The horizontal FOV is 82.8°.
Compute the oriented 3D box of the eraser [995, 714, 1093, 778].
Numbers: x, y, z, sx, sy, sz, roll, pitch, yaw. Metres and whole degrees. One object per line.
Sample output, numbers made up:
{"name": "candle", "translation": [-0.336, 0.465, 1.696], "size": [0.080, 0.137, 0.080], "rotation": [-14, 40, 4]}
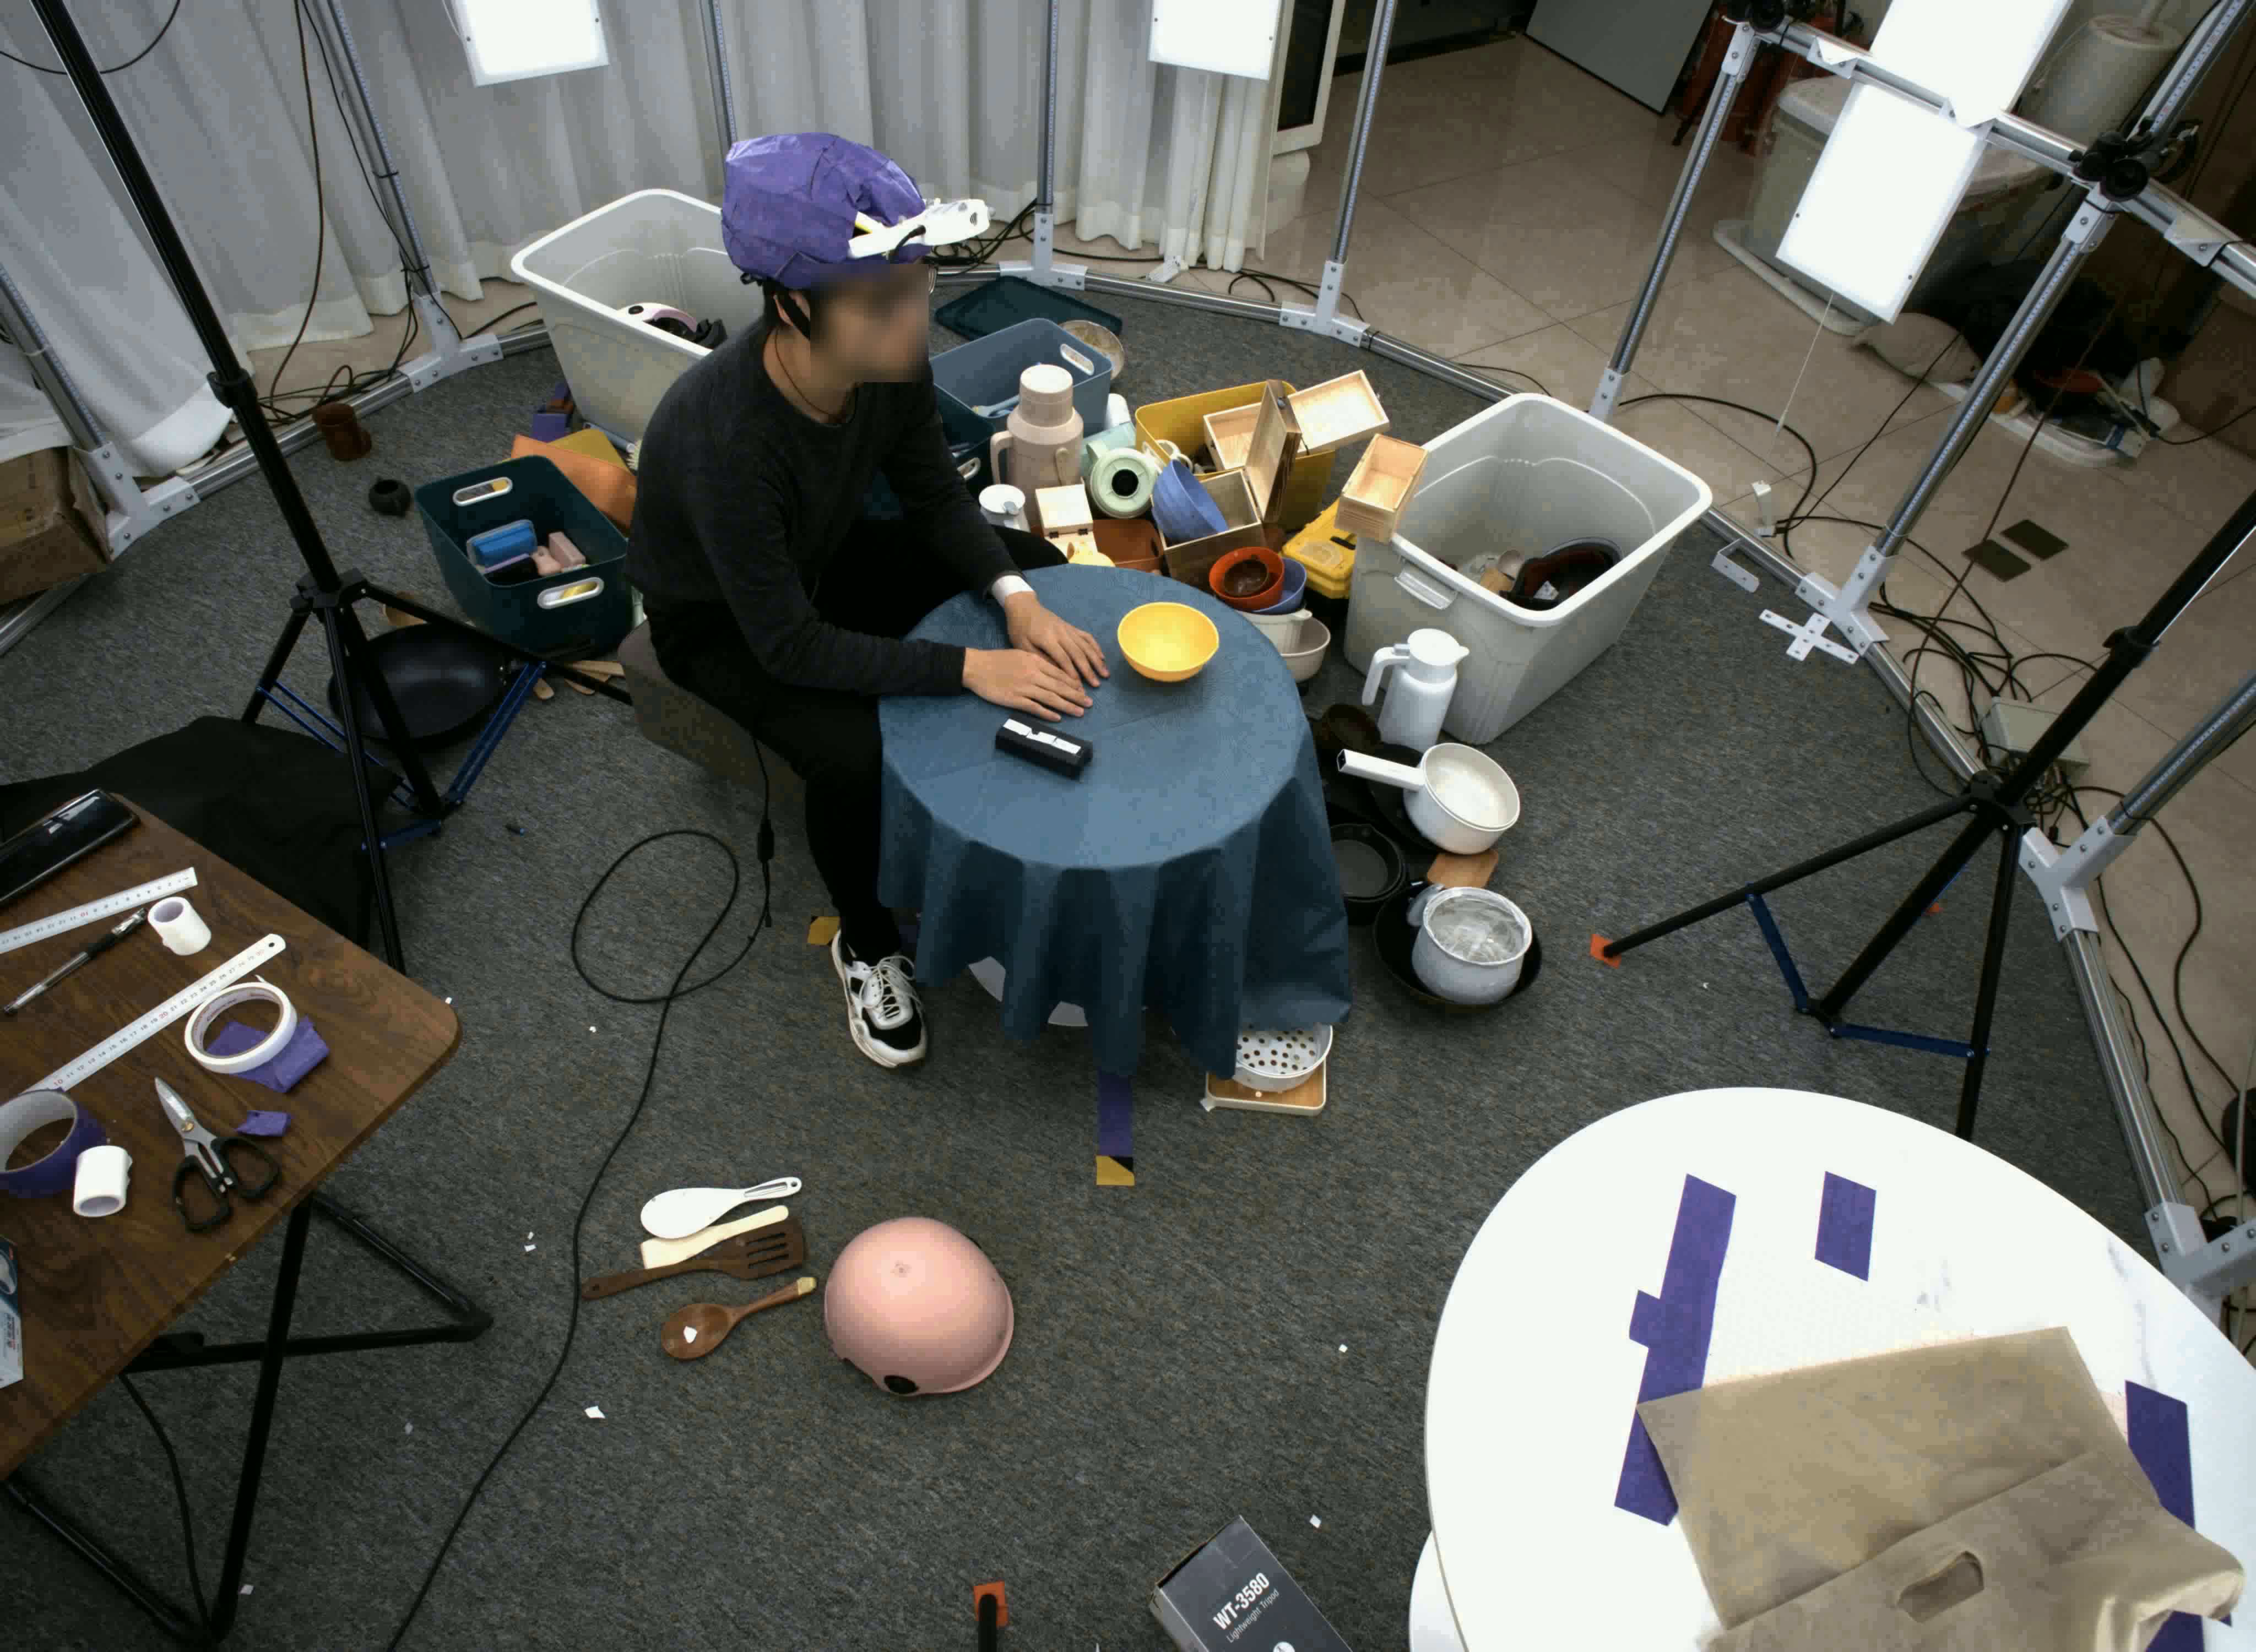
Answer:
{"name": "eraser", "translation": [-0.114, -0.109, 1.738], "size": [0.126, 0.030, 0.054], "rotation": [21, 48, 14]}

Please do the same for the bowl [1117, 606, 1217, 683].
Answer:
{"name": "bowl", "translation": [0.054, -0.252, 1.856], "size": [0.145, 0.058, 0.149], "rotation": [1, 47, -2]}
